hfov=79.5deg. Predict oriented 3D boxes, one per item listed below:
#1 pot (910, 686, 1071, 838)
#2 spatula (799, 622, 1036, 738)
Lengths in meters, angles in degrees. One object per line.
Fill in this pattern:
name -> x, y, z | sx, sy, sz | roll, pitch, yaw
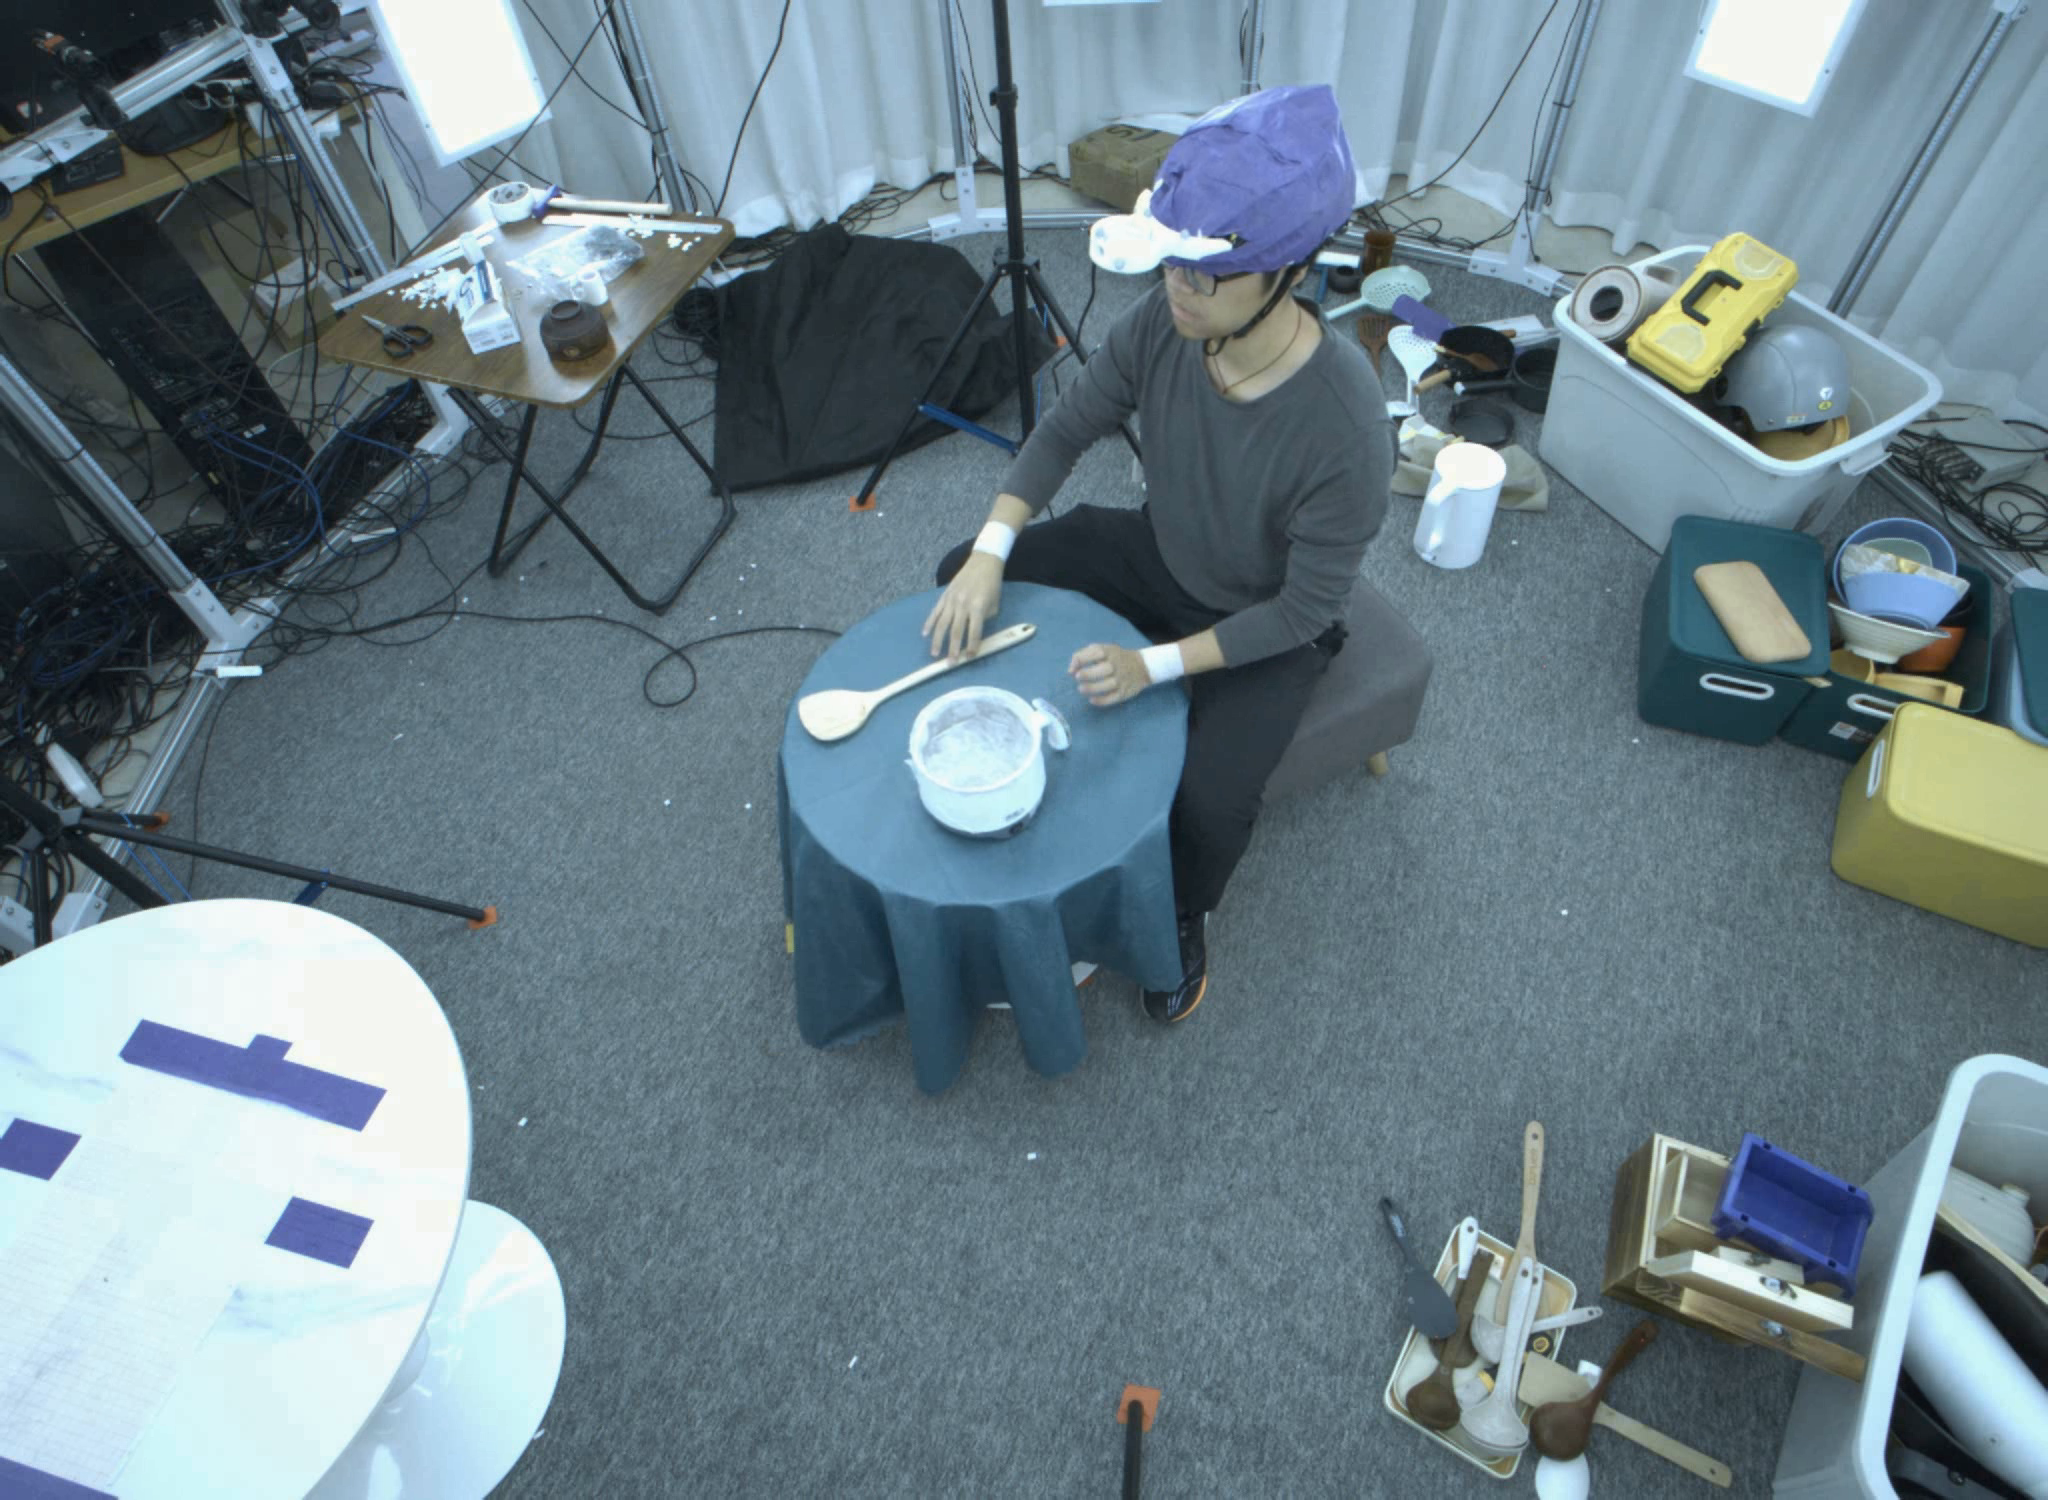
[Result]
pot -> -0.039, 0.006, 1.706 | 0.235, 0.138, 0.175 | -30, 59, -18
spatula -> -0.158, -0.120, 1.874 | 0.394, 0.018, 0.094 | -26, 60, -16
